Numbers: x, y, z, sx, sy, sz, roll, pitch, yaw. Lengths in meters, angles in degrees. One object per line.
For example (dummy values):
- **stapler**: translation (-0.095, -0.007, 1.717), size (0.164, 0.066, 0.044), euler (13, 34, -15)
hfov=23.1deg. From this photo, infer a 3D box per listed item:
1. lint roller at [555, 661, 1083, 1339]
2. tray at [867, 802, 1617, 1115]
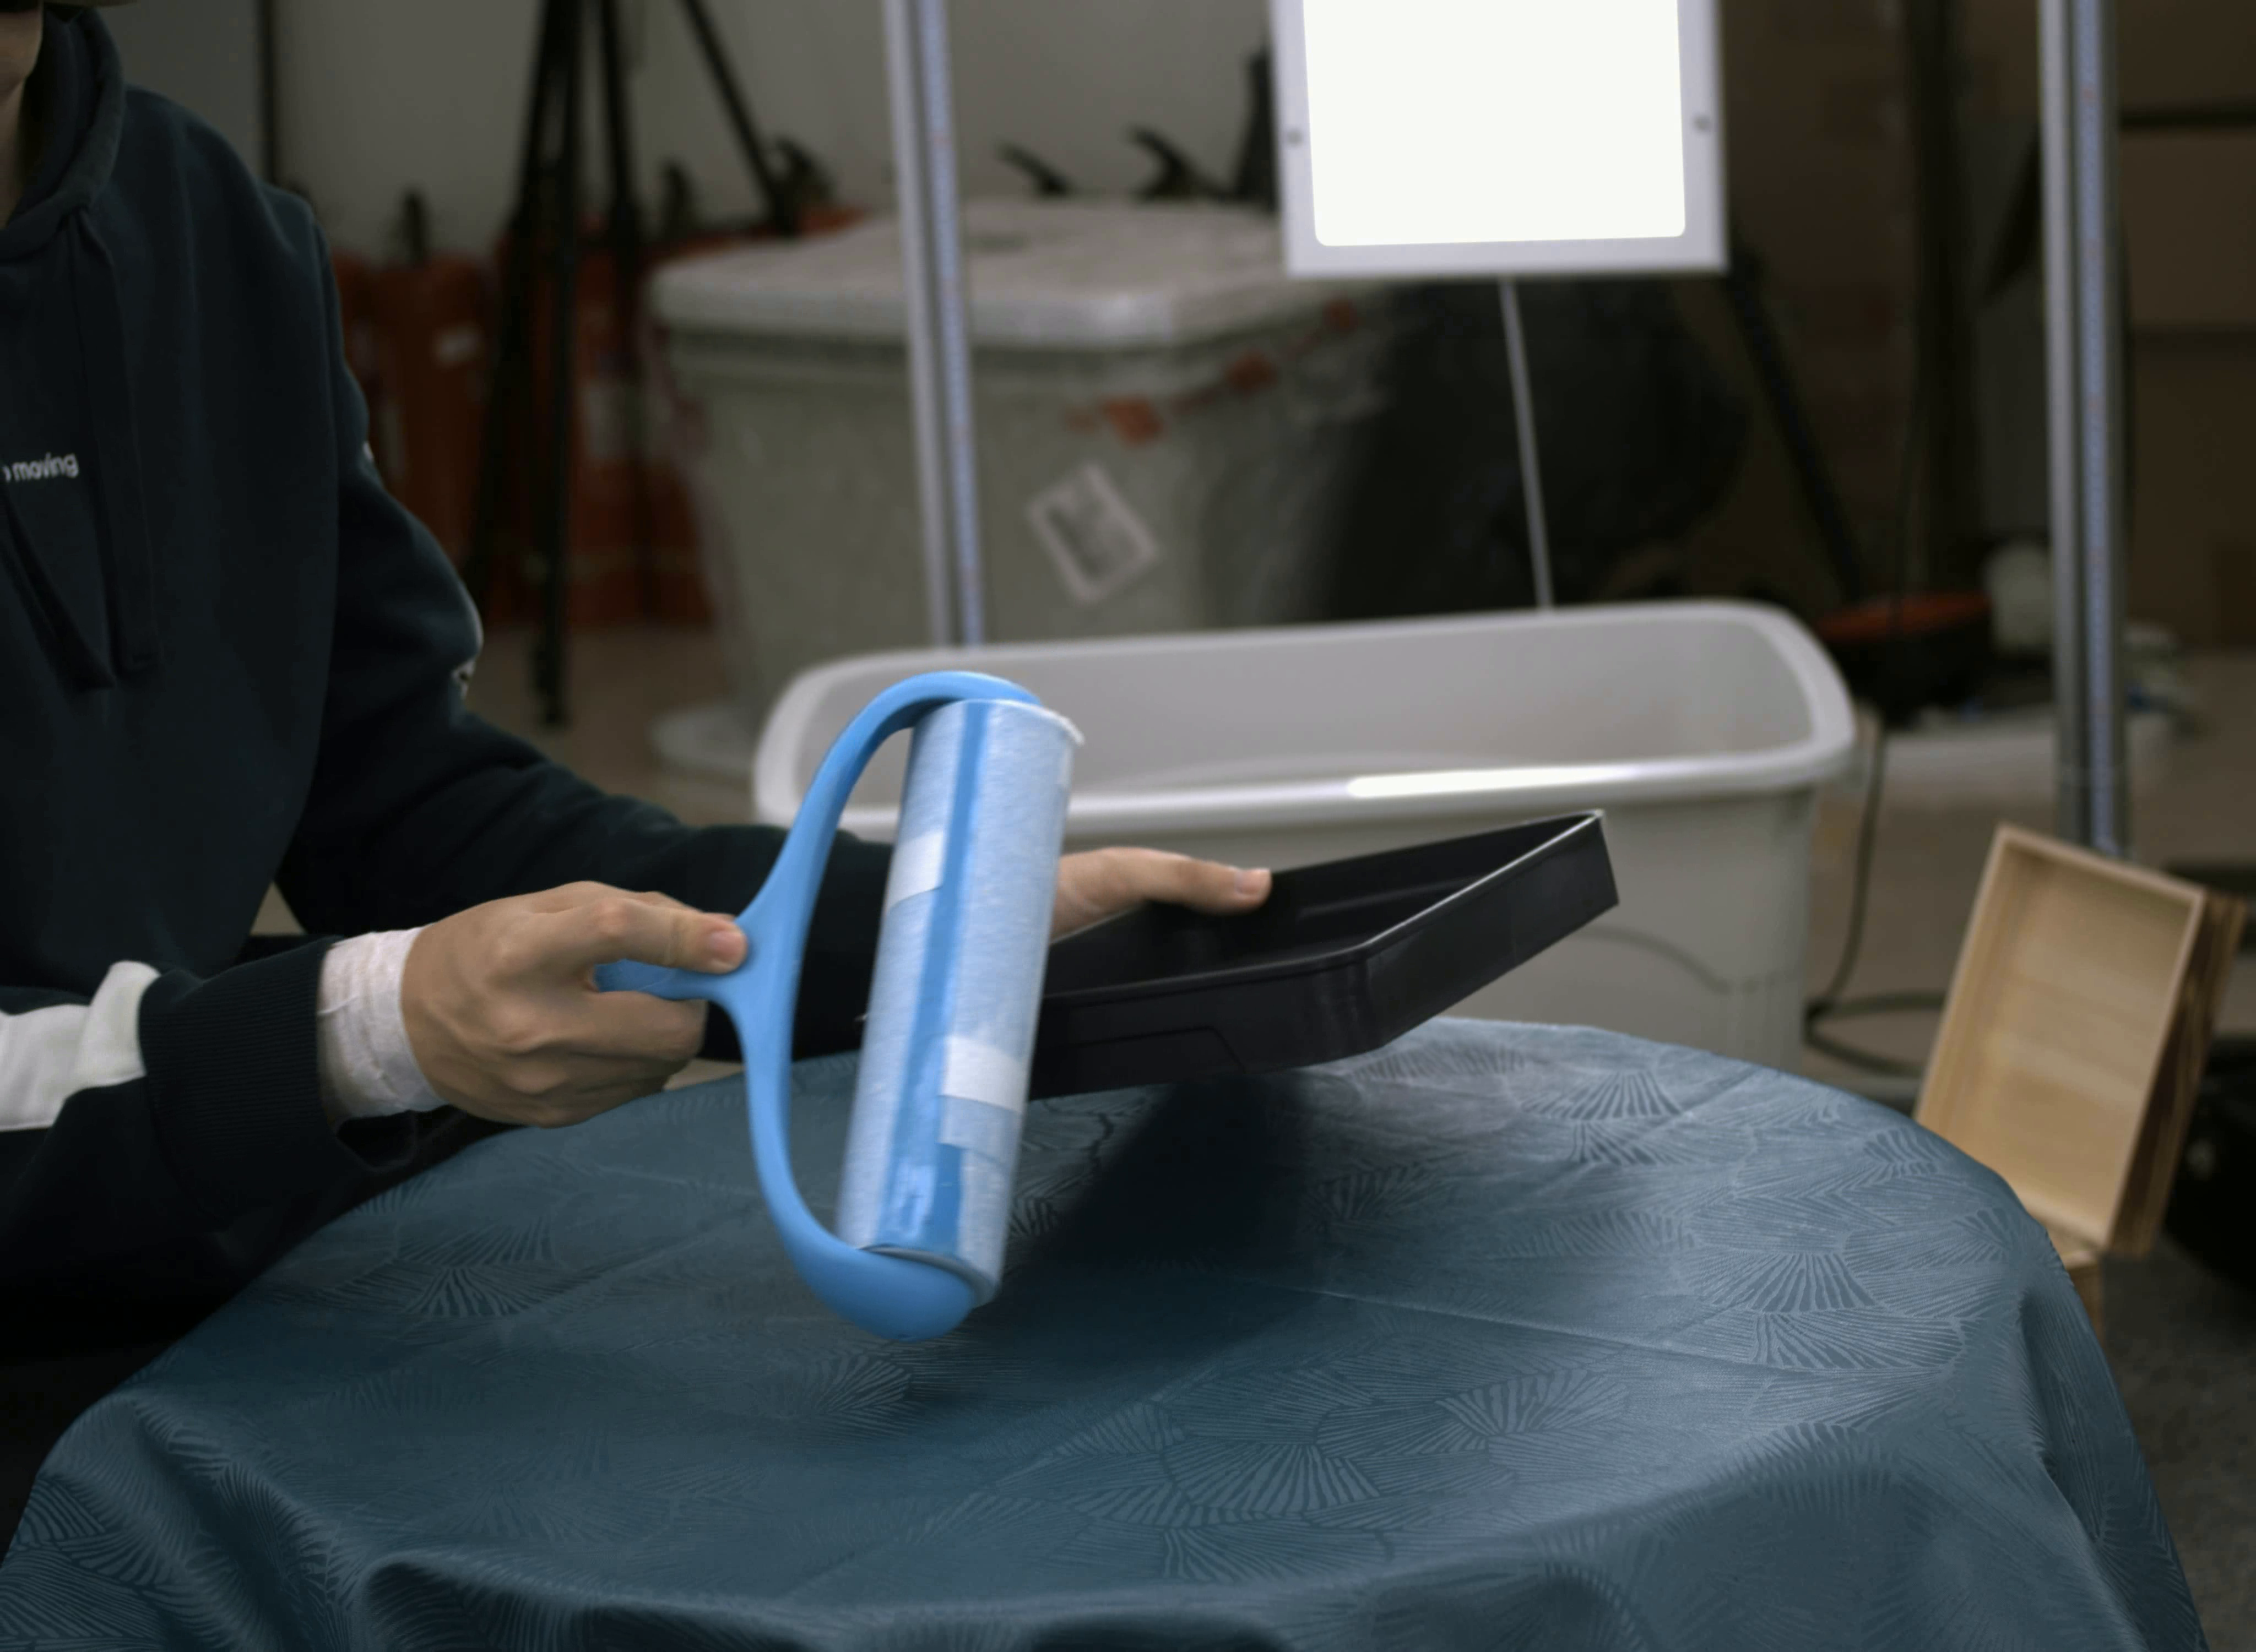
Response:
- **lint roller**: translation (-0.108, 0.056, 1.758), size (0.182, 0.228, 0.067), euler (-4, -26, 17)
- **tray**: translation (0.048, 0.047, 1.903), size (0.187, 0.037, 0.312), euler (-12, 5, 22)
